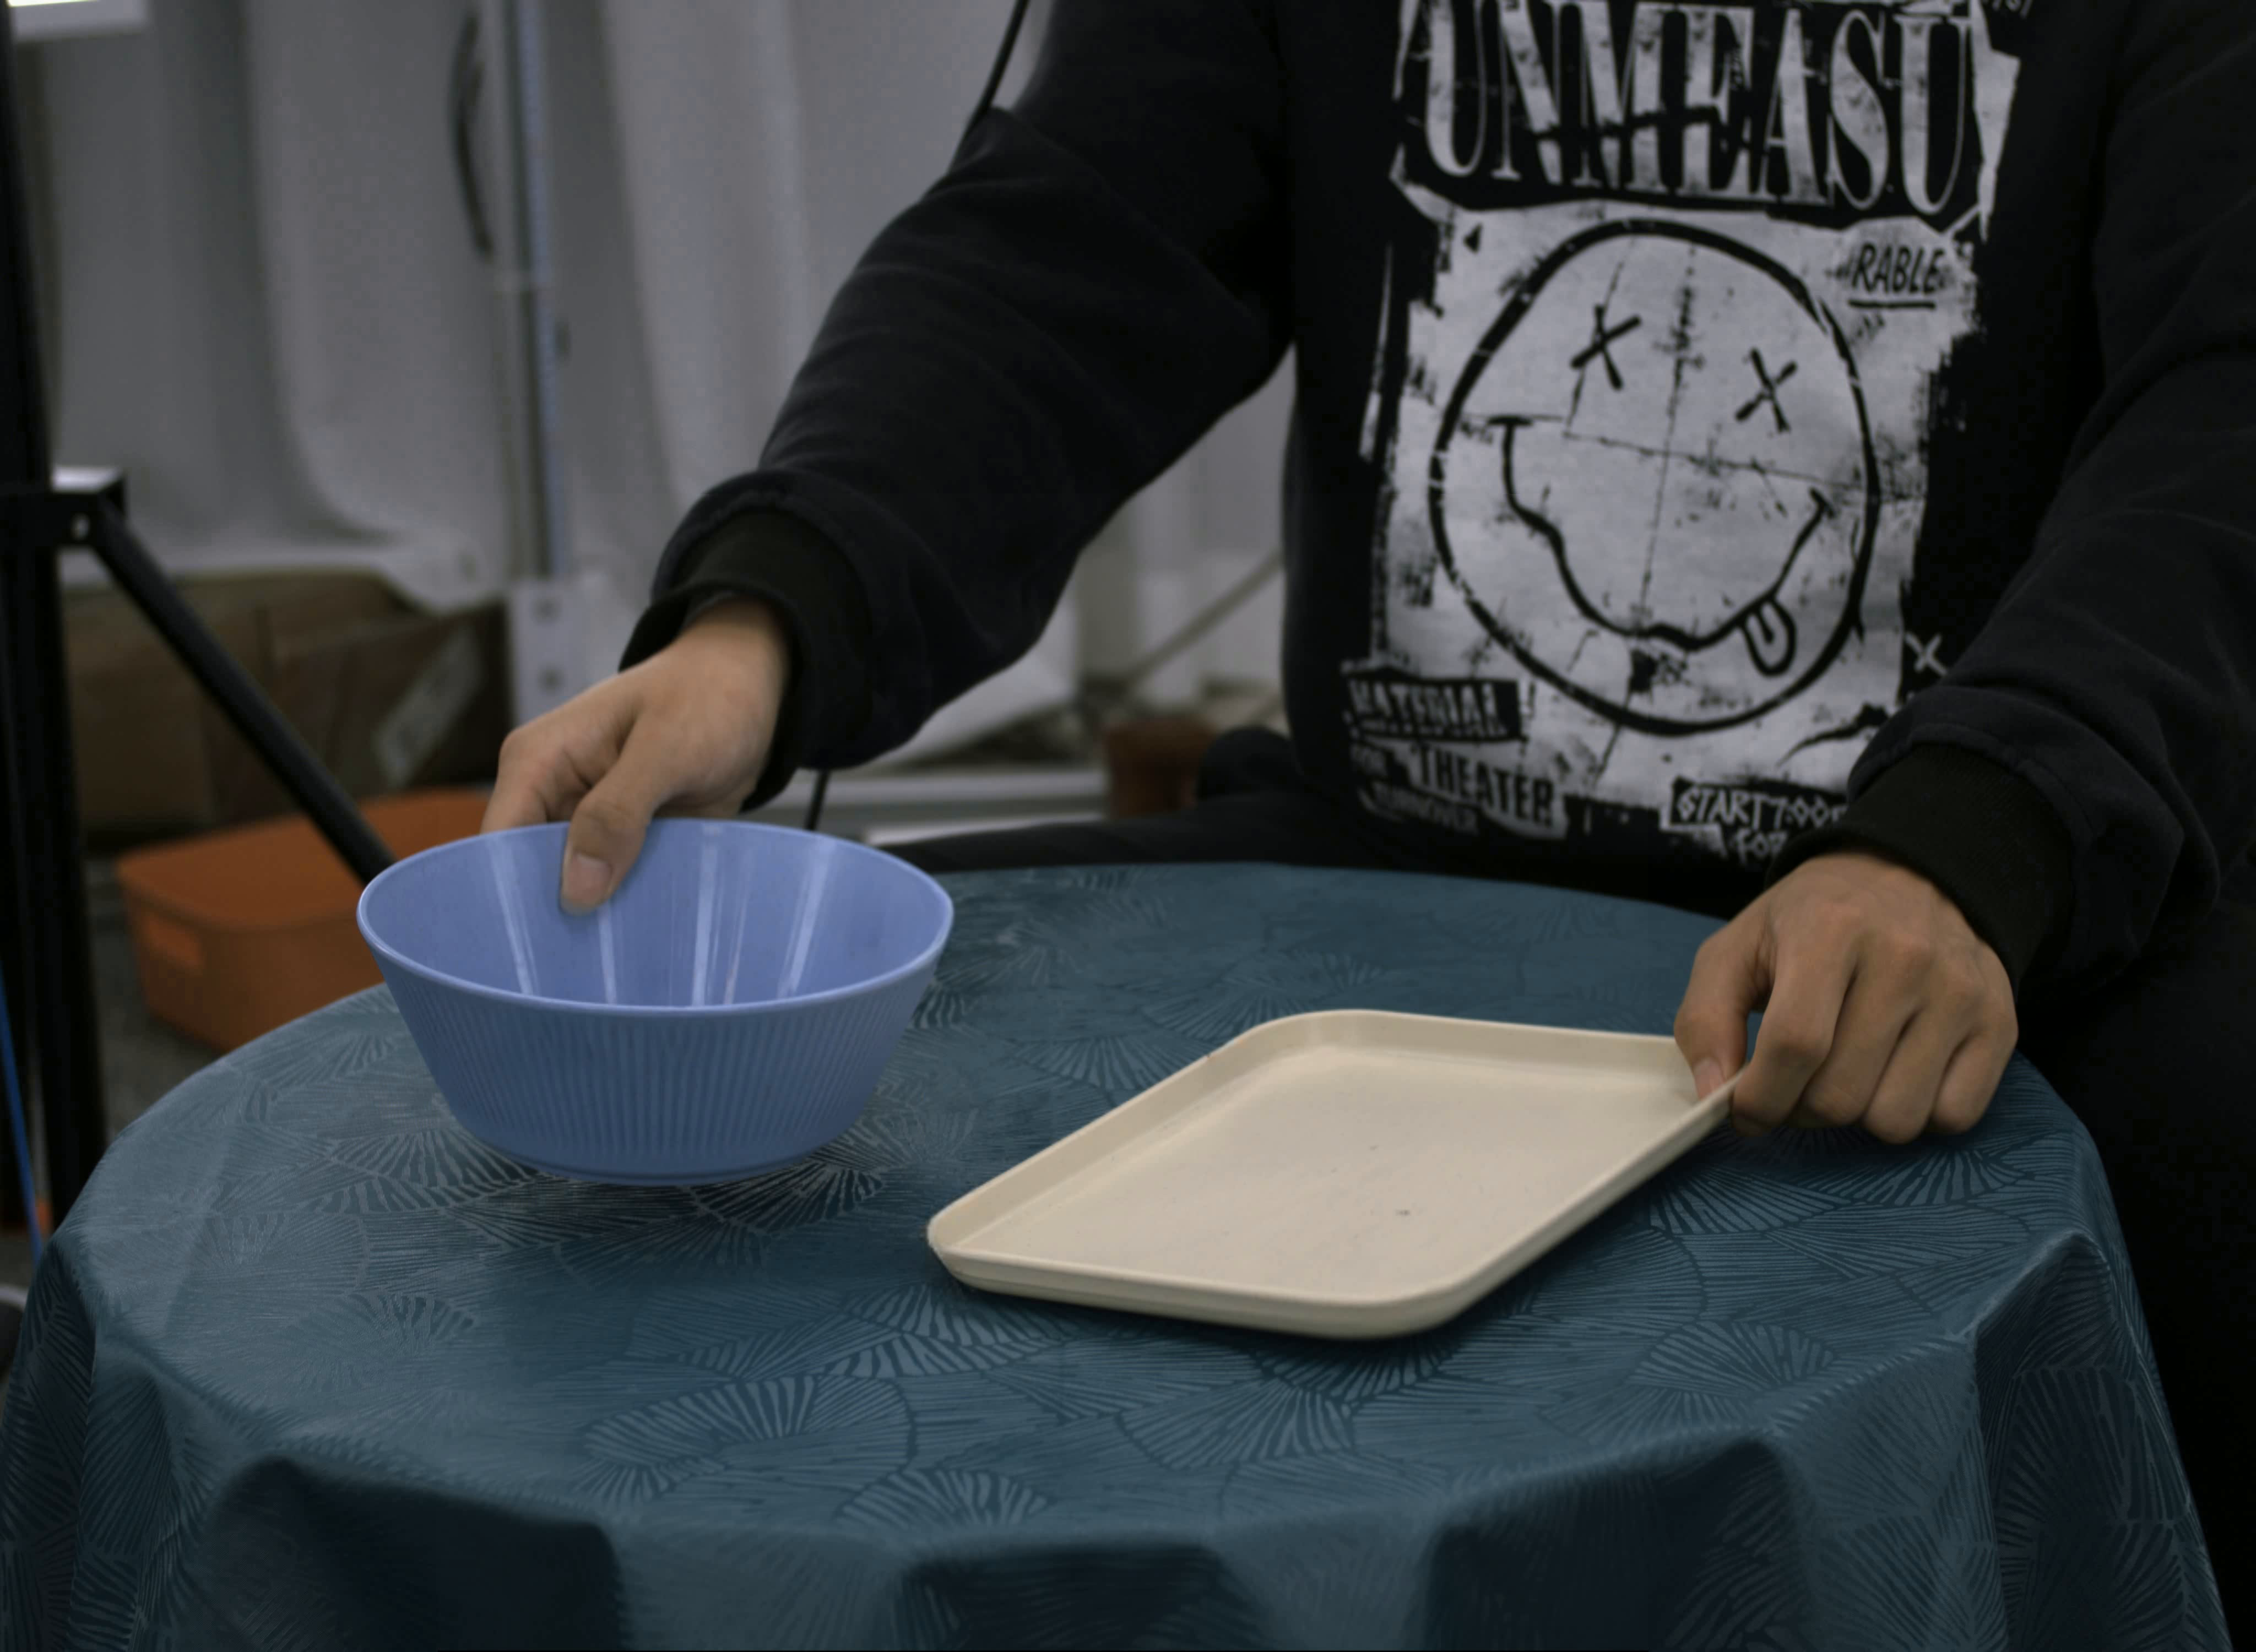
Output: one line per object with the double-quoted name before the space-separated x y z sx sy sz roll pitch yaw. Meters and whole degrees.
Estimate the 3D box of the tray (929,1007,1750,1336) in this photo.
"tray" 0.065 0.099 1.534 0.174 0.017 0.235 4 17 32

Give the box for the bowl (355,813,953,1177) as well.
"bowl" -0.140 0.053 1.576 0.175 0.070 0.177 2 18 -2
